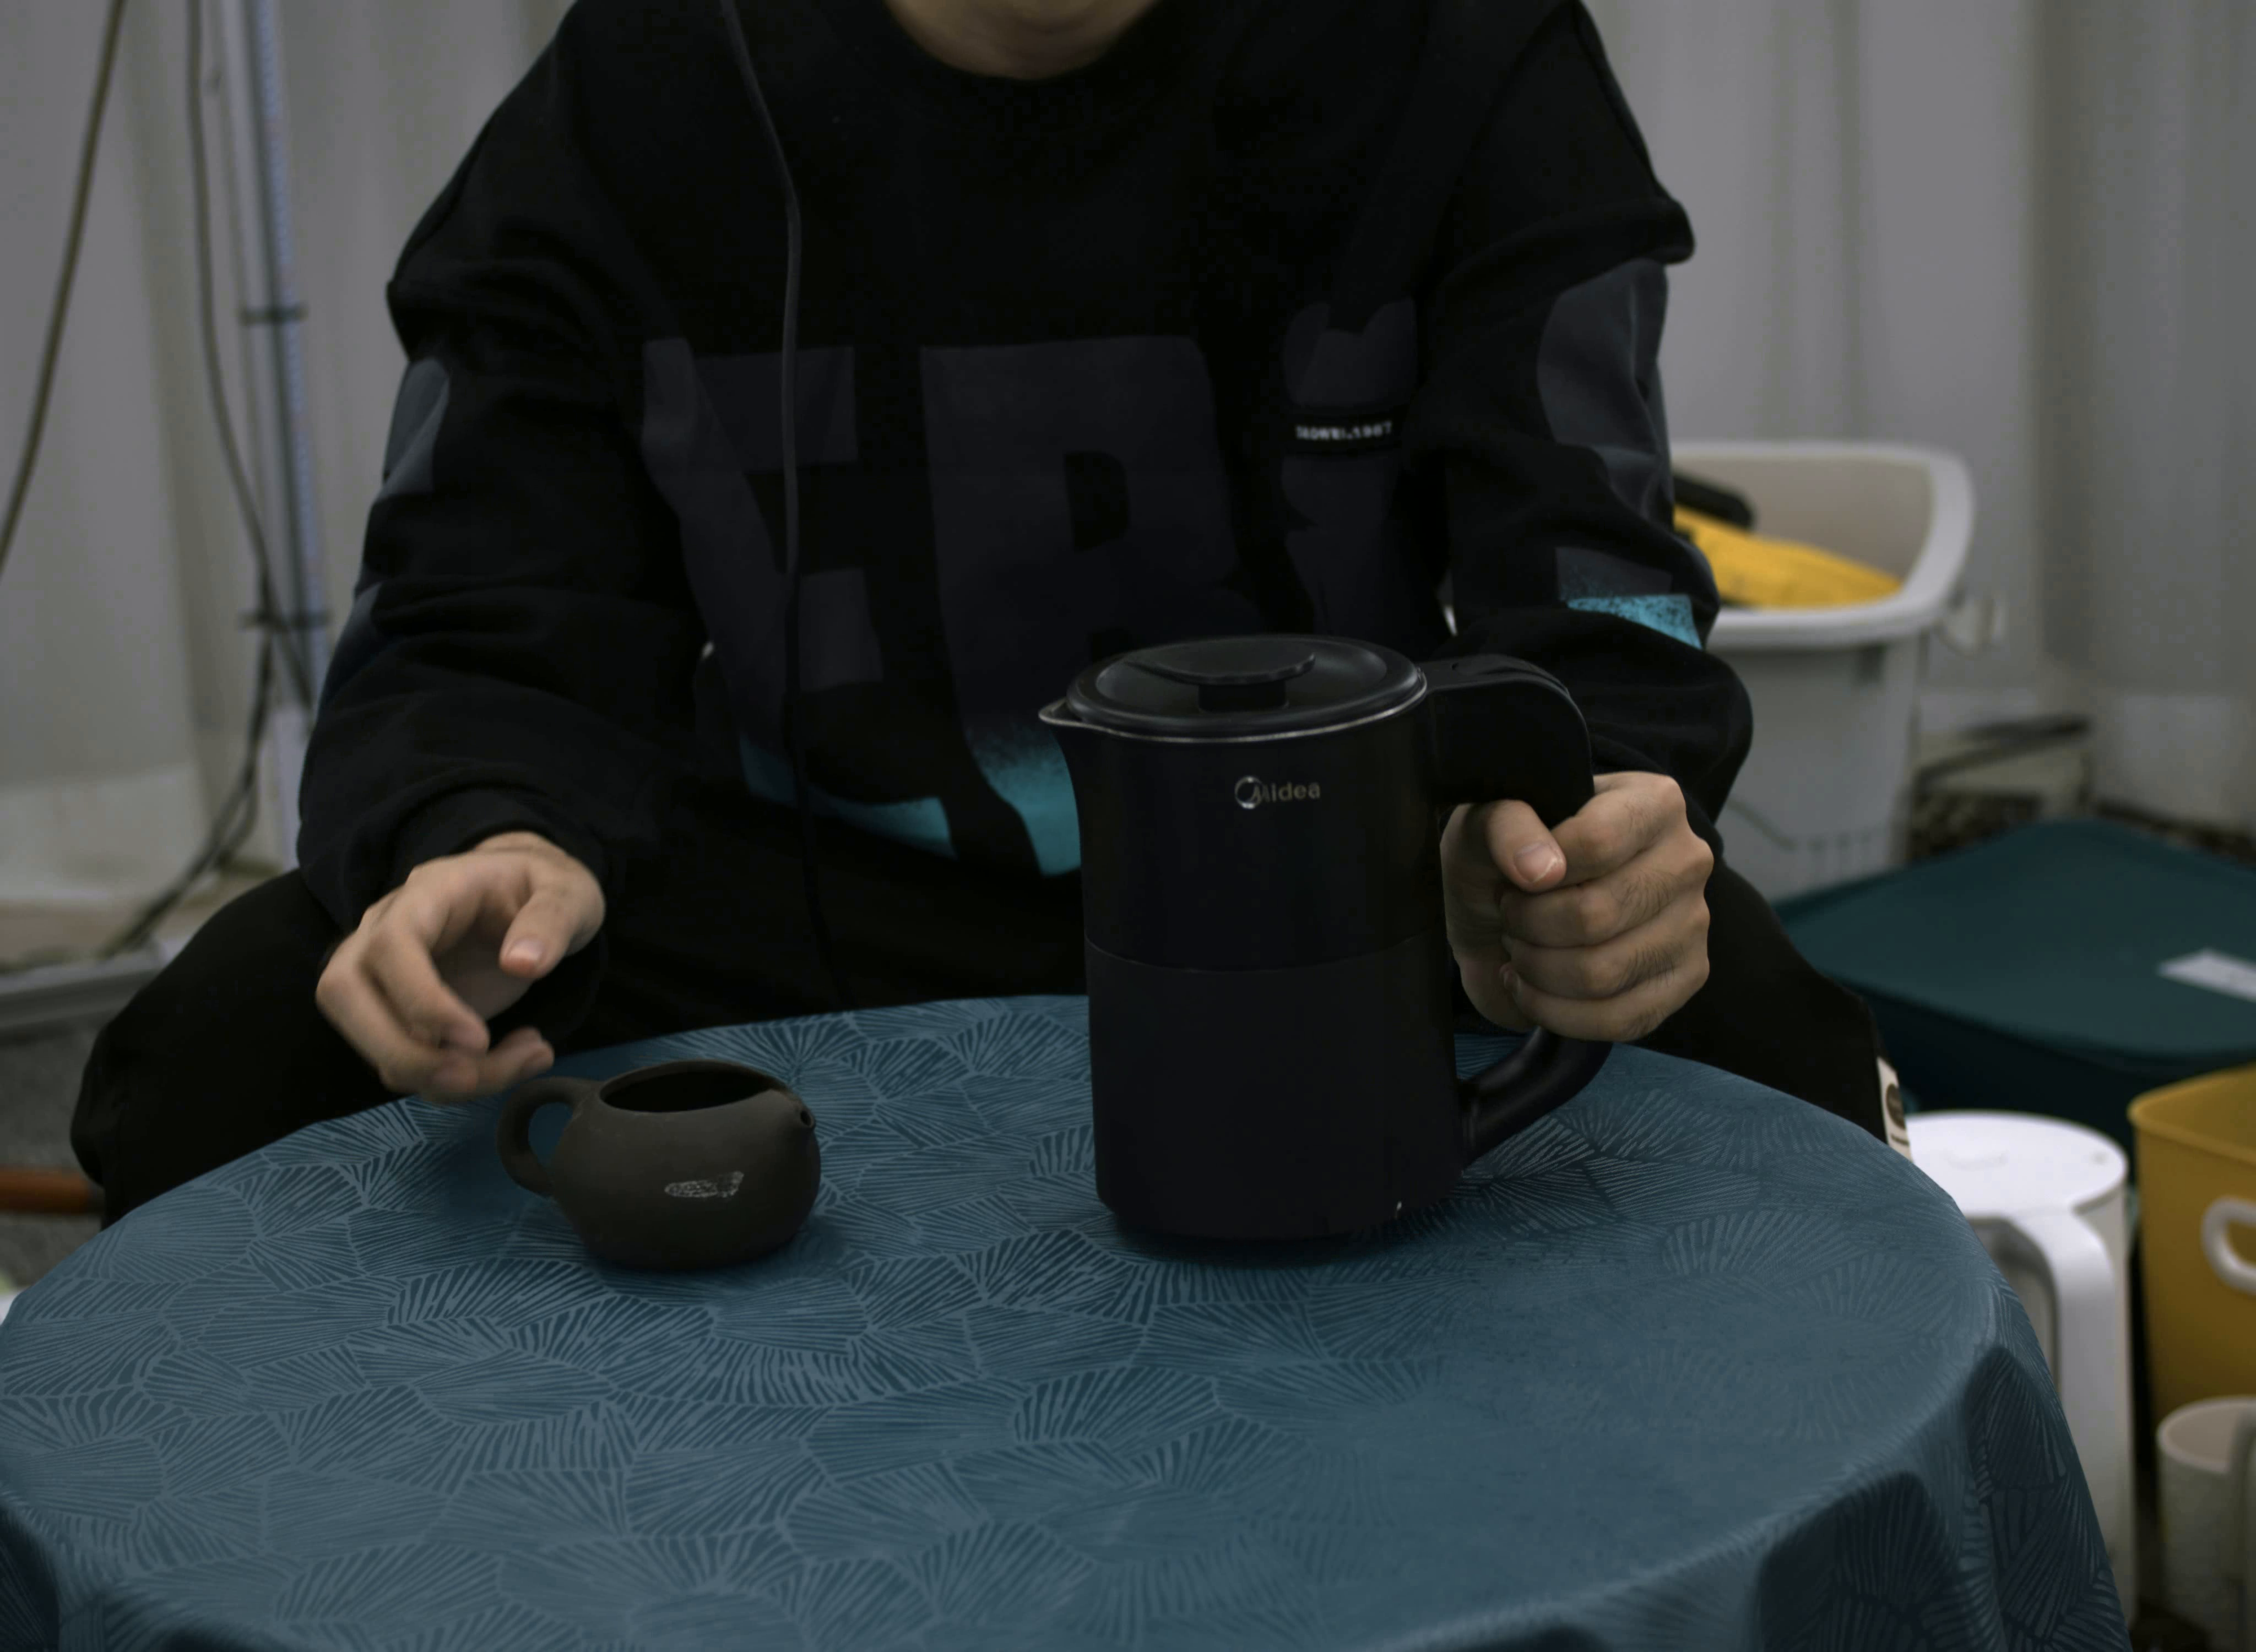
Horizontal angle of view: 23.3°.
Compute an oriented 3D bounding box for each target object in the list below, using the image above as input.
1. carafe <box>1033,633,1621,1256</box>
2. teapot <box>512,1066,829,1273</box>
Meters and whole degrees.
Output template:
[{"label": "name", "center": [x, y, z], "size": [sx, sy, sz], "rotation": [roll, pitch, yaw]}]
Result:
[{"label": "carafe", "center": [0.062, 0.026, 1.668], "size": [0.171, 0.173, 0.115], "rotation": [-9, 14, -10]}, {"label": "teapot", "center": [-0.143, 0.104, 1.689], "size": [0.114, 0.053, 0.083], "rotation": [9, 18, 31]}]
